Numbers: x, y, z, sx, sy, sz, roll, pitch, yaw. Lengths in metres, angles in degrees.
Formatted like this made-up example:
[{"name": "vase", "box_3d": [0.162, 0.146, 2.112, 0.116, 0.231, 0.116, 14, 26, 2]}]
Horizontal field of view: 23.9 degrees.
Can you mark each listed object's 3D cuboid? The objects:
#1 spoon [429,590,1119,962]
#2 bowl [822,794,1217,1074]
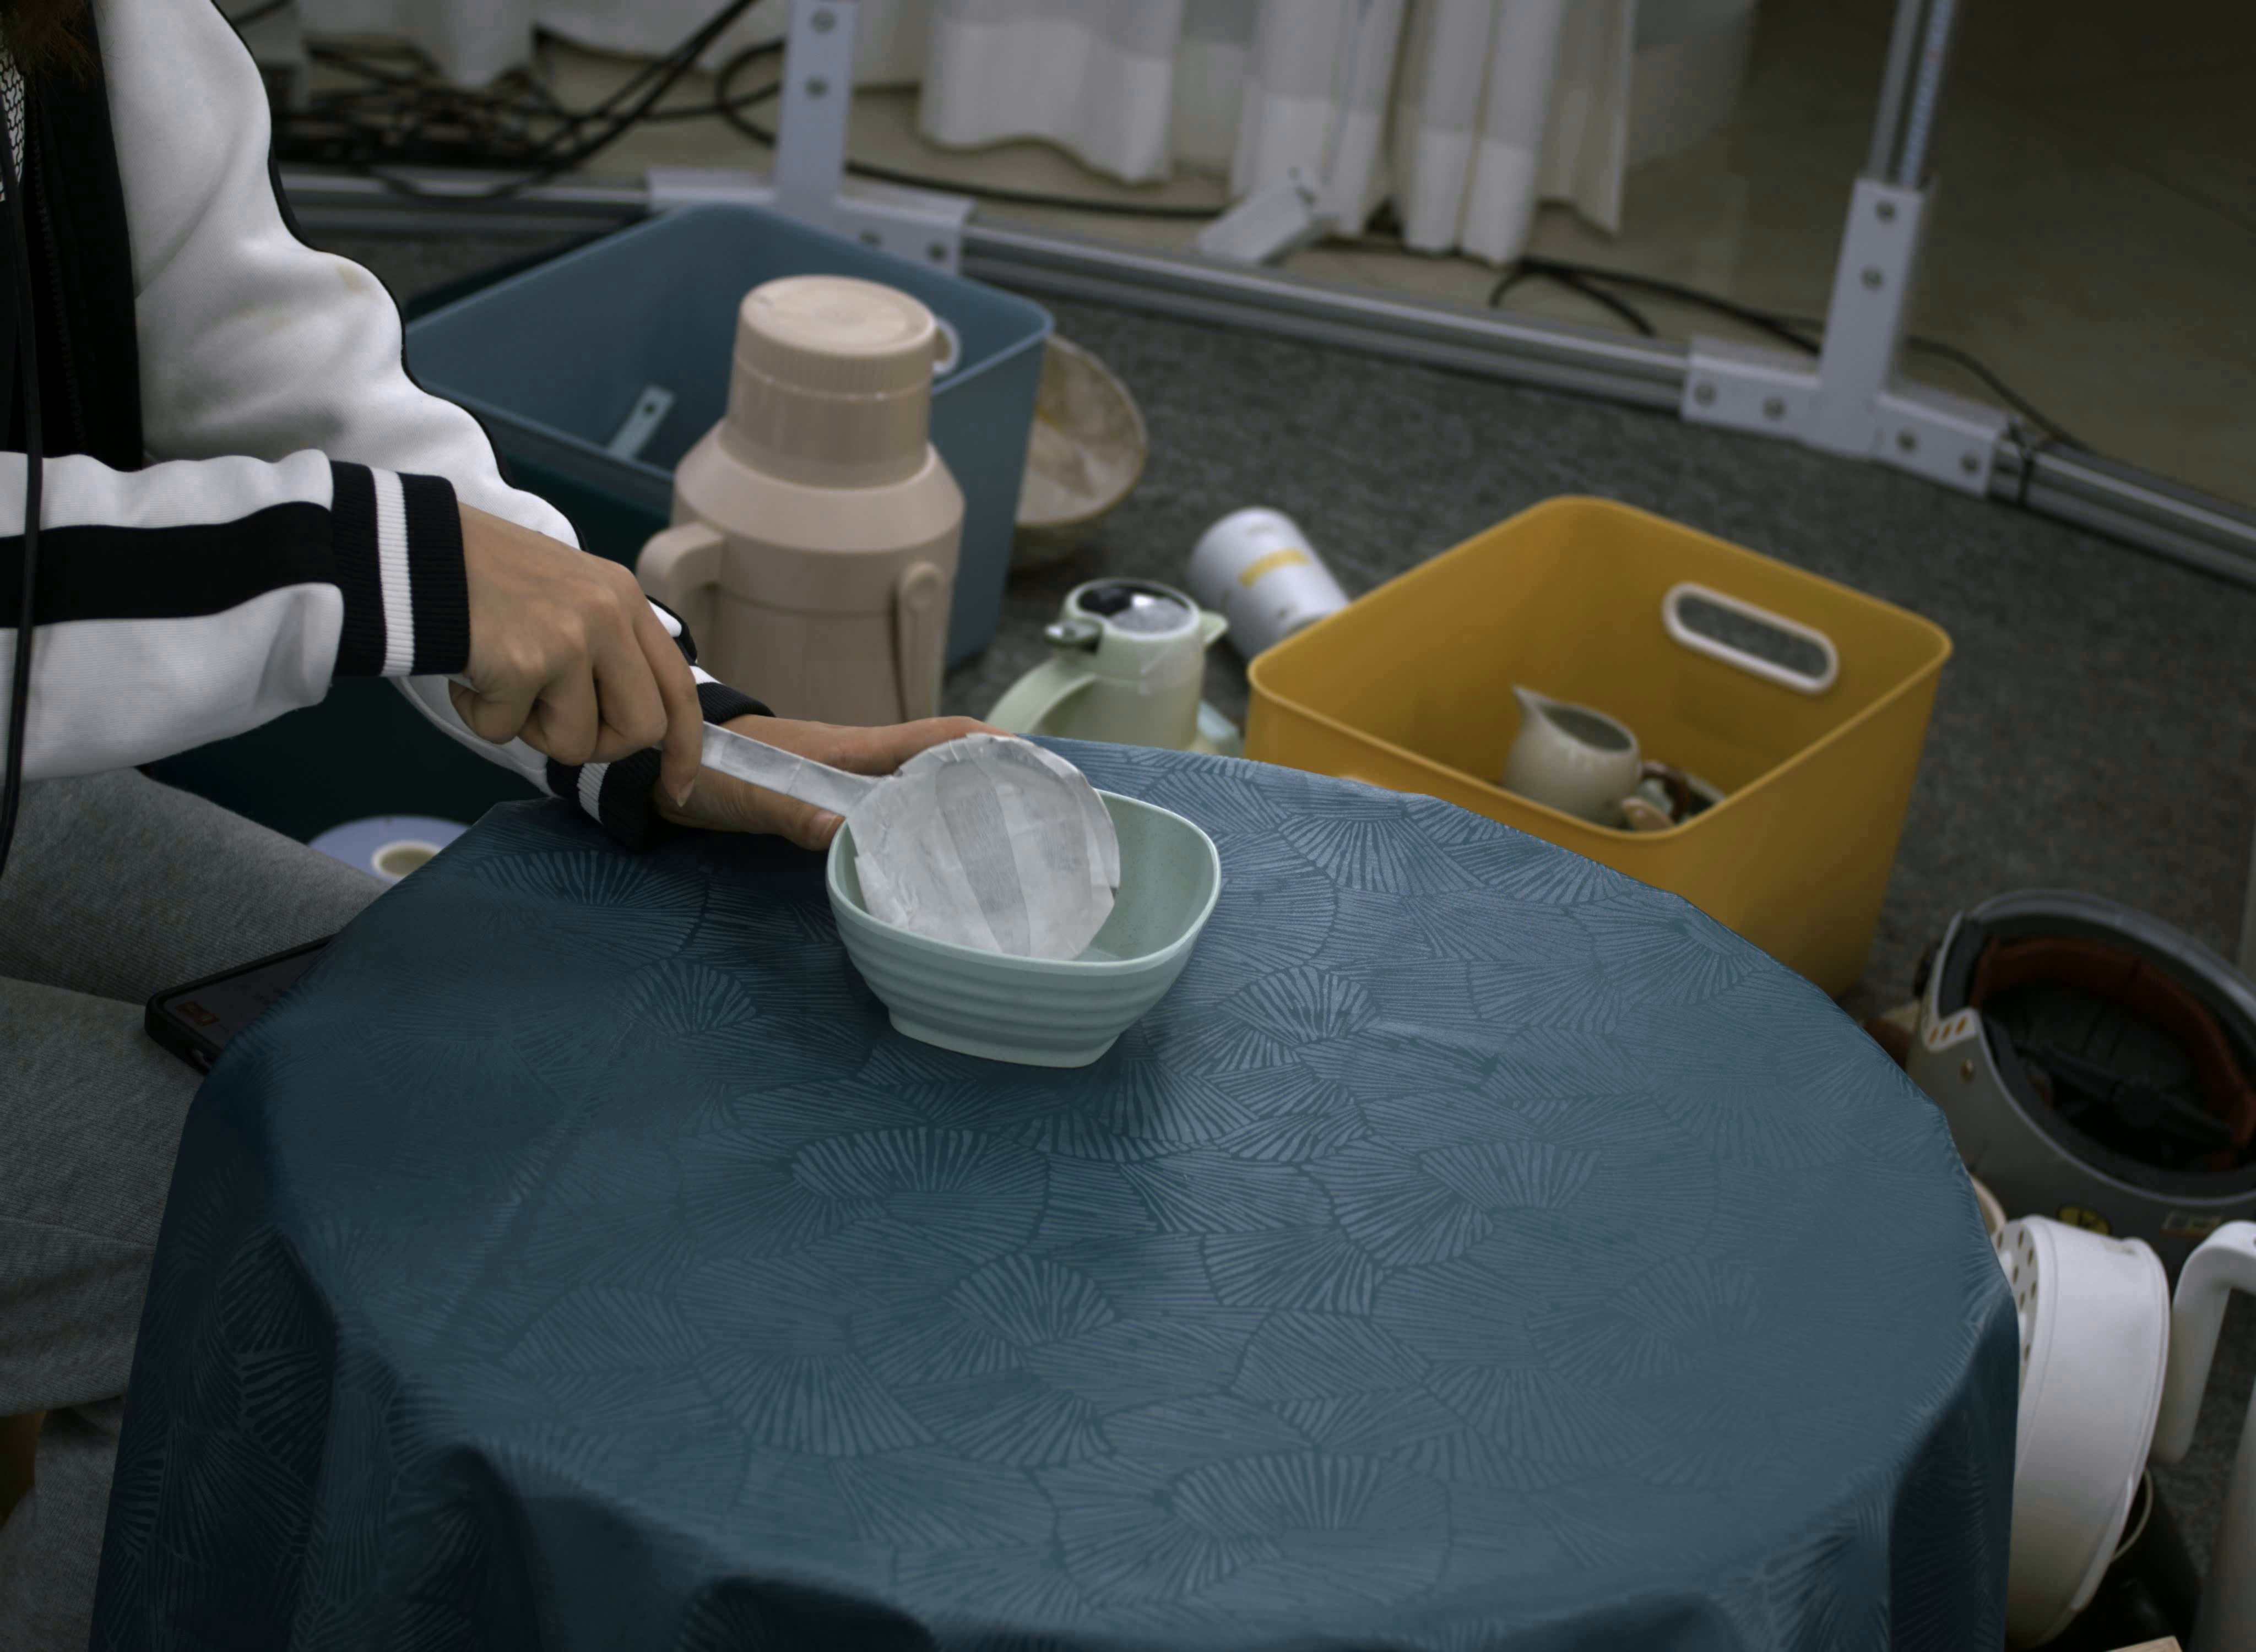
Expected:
[{"name": "spoon", "box_3d": [-0.118, -0.024, 1.833, 0.275, 0.101, 0.060, 25, 6, -39]}, {"name": "bowl", "box_3d": [-0.041, 0.041, 1.898, 0.151, 0.058, 0.152, 5, 27, -3]}]
